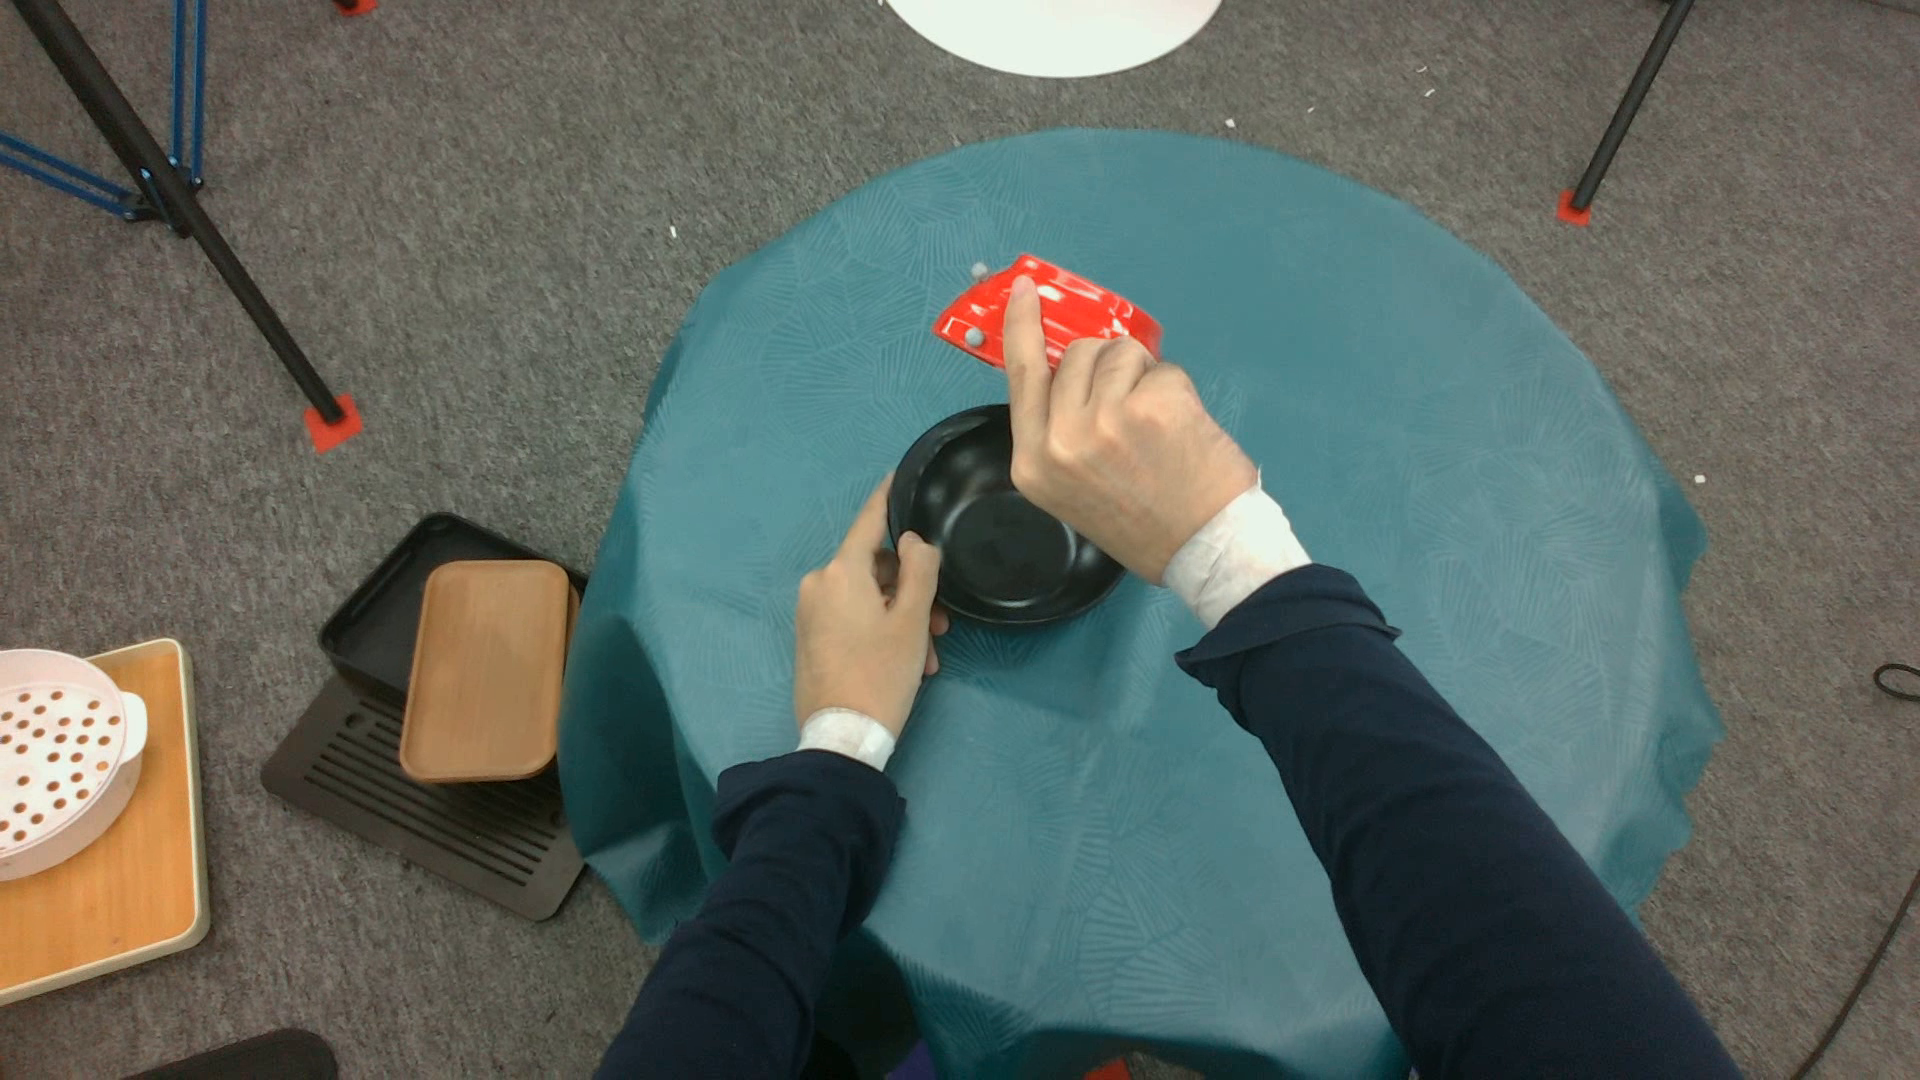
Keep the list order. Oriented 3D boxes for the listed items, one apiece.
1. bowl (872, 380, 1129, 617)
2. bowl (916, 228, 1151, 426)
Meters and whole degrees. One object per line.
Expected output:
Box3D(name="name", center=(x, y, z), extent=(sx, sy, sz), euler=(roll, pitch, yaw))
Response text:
Box3D(name="bowl", center=(0.021, -0.017, 0.762), extent=(0.140, 0.049, 0.140), euler=(1, 66, -2))
Box3D(name="bowl", center=(0.043, -0.100, 0.627), extent=(0.119, 0.119, 0.051), euler=(30, 96, 13))
